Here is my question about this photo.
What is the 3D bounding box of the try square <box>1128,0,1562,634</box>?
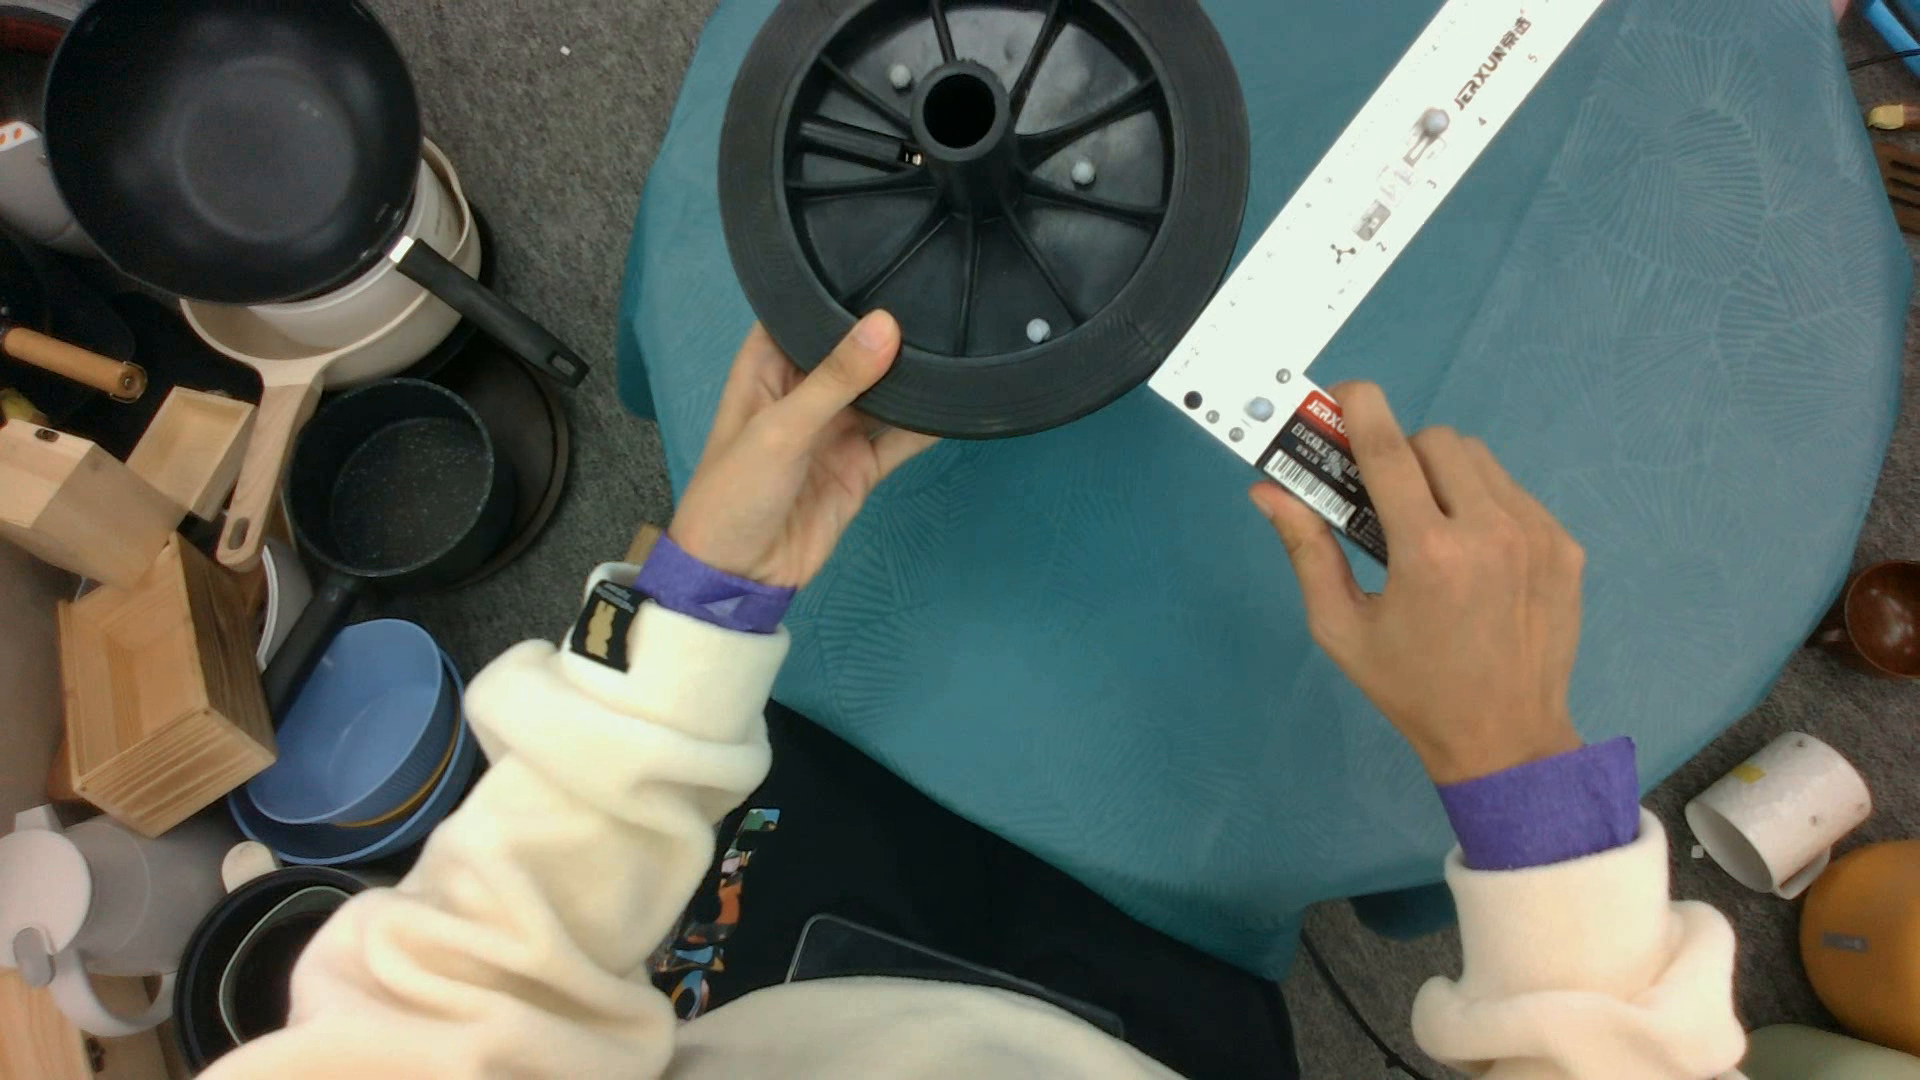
[{"bbox_3d":[0.210,-0.133,0.468,0.152,0.016,0.312,37,96,-4],"label":"try square"}]

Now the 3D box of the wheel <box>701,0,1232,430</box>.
[{"bbox_3d":[-0.001,-0.134,0.473,0.190,0.079,0.187,-7,87,5],"label":"wheel"}]
